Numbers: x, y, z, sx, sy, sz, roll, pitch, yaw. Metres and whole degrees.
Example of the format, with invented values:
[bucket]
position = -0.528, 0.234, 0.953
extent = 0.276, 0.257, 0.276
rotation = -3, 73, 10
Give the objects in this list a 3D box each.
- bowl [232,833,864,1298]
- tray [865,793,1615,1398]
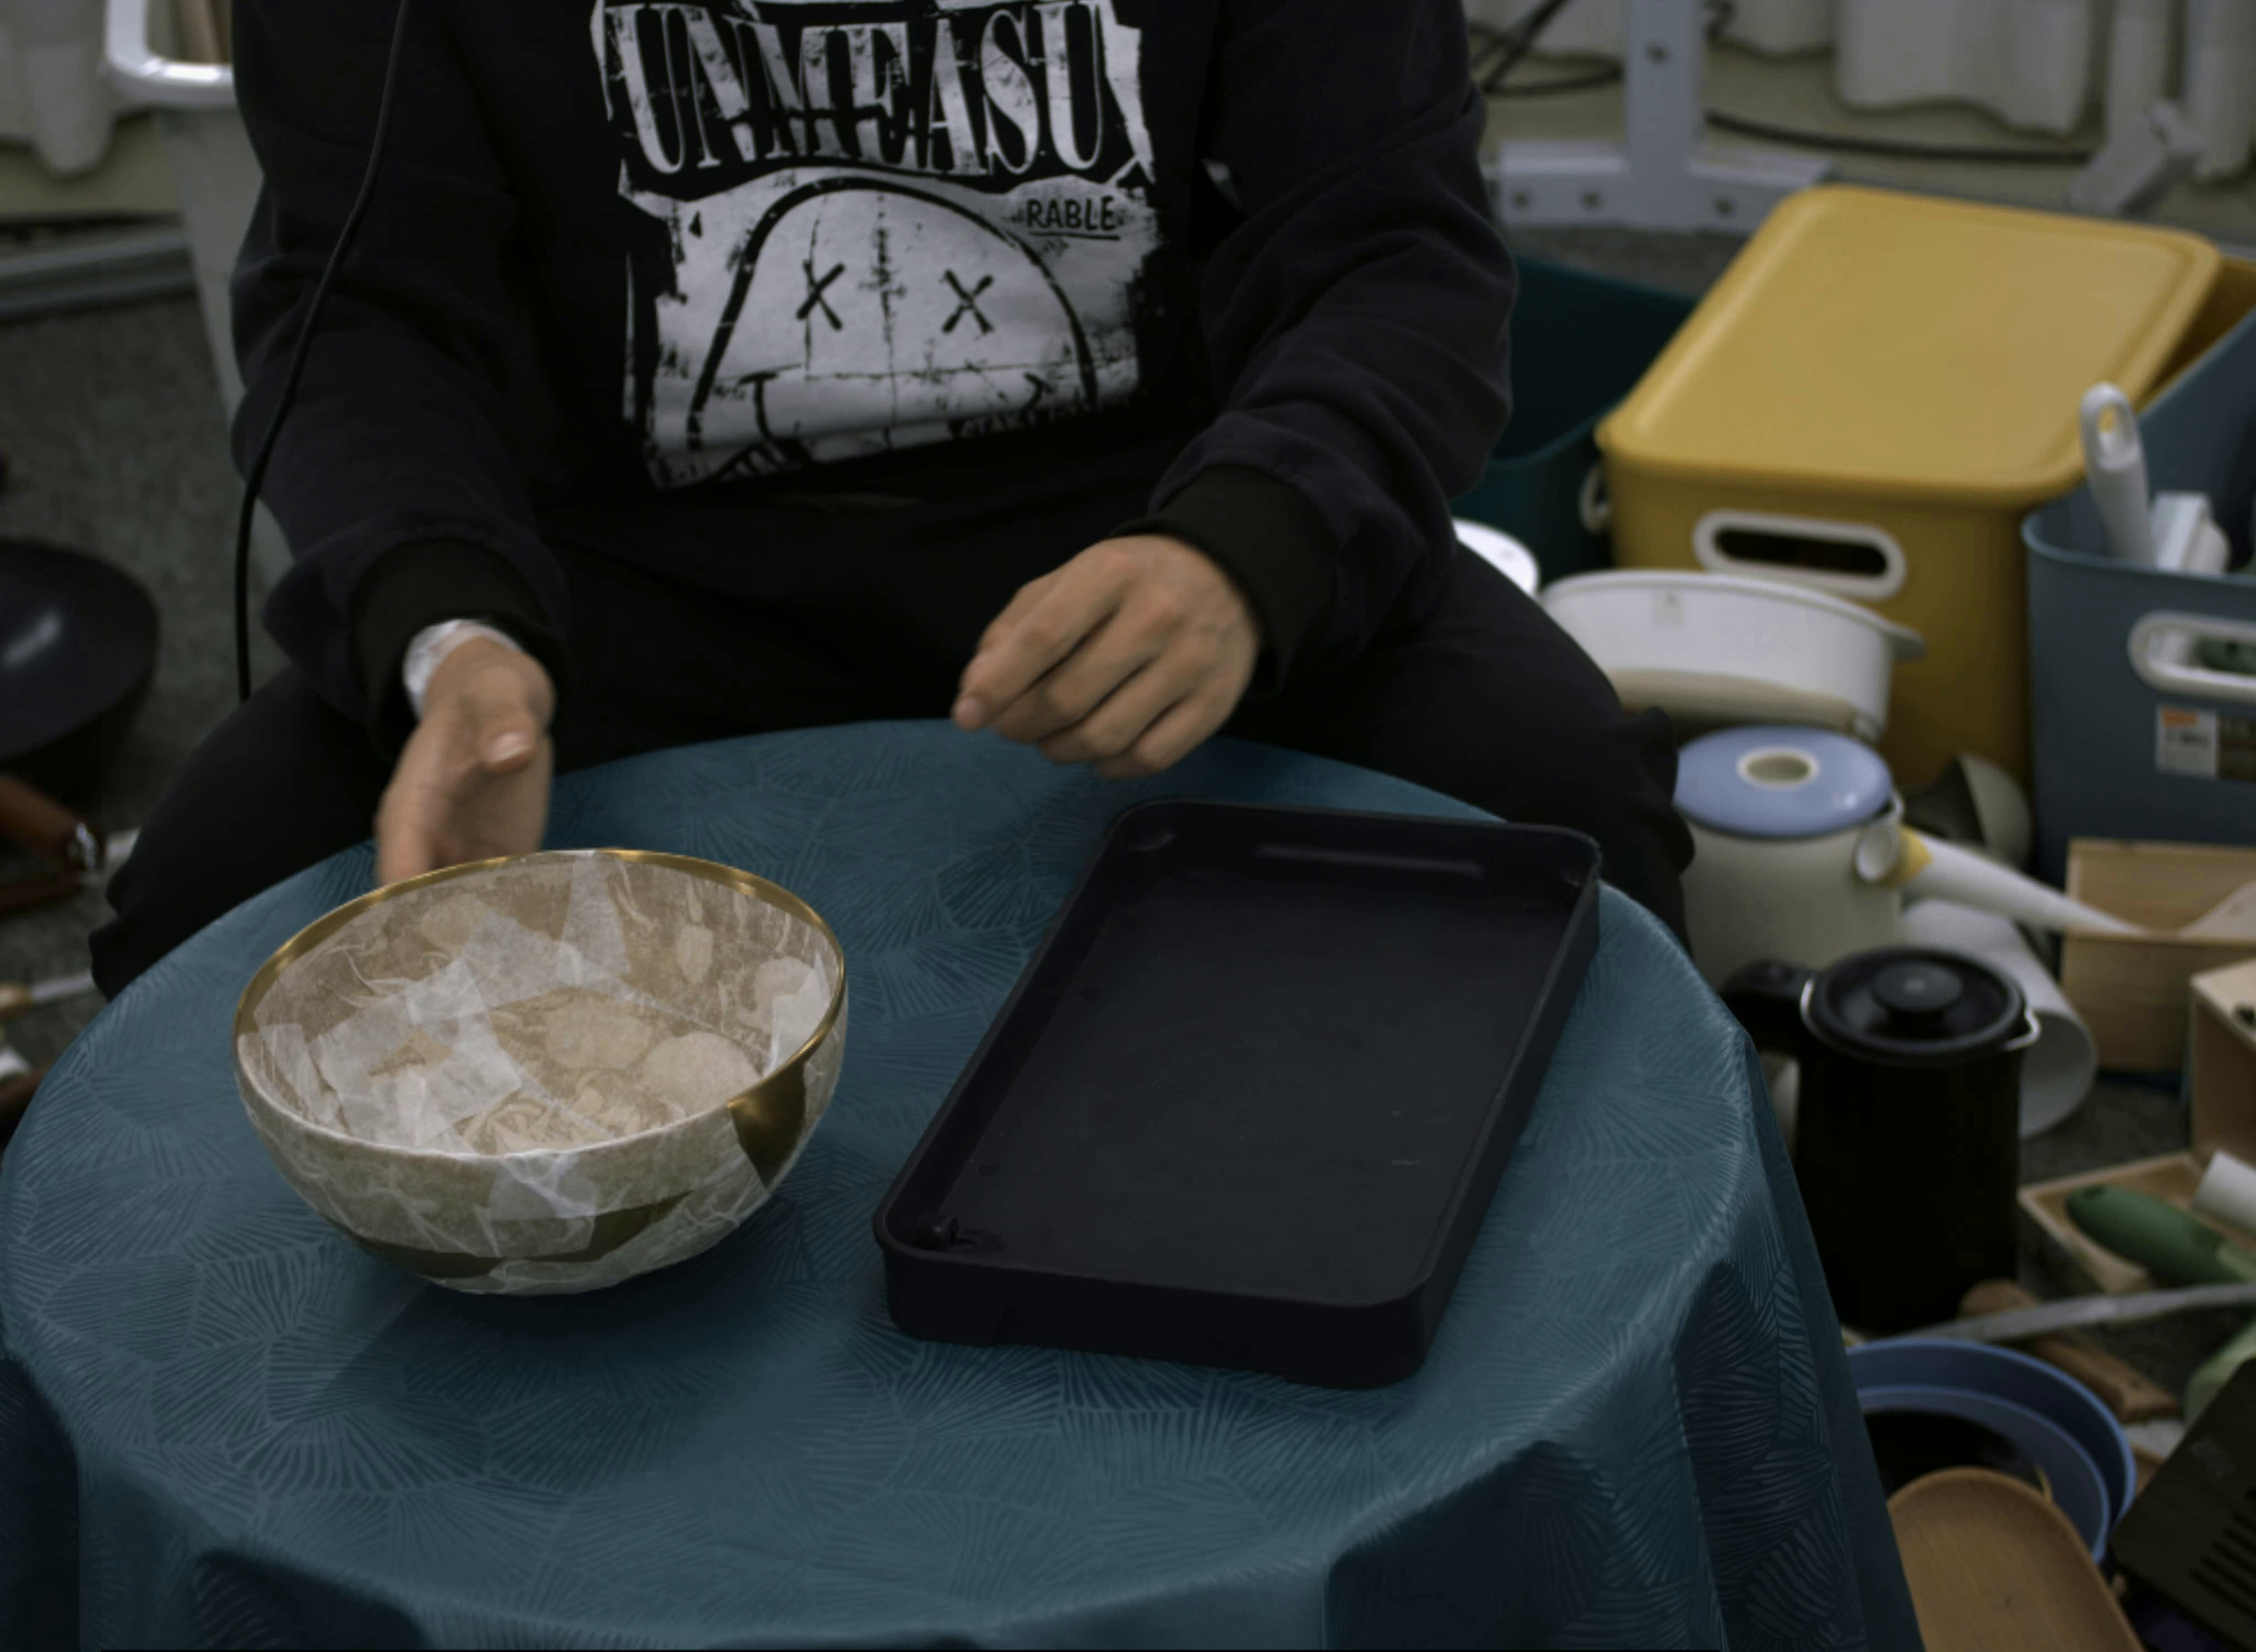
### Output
[bowl]
position = -0.184, 0.092, 1.838
extent = 0.213, 0.093, 0.218
rotation = -3, 27, 2
[tray]
position = 0.045, 0.084, 1.894
extent = 0.183, 0.036, 0.323
rotation = 6, 29, 16
